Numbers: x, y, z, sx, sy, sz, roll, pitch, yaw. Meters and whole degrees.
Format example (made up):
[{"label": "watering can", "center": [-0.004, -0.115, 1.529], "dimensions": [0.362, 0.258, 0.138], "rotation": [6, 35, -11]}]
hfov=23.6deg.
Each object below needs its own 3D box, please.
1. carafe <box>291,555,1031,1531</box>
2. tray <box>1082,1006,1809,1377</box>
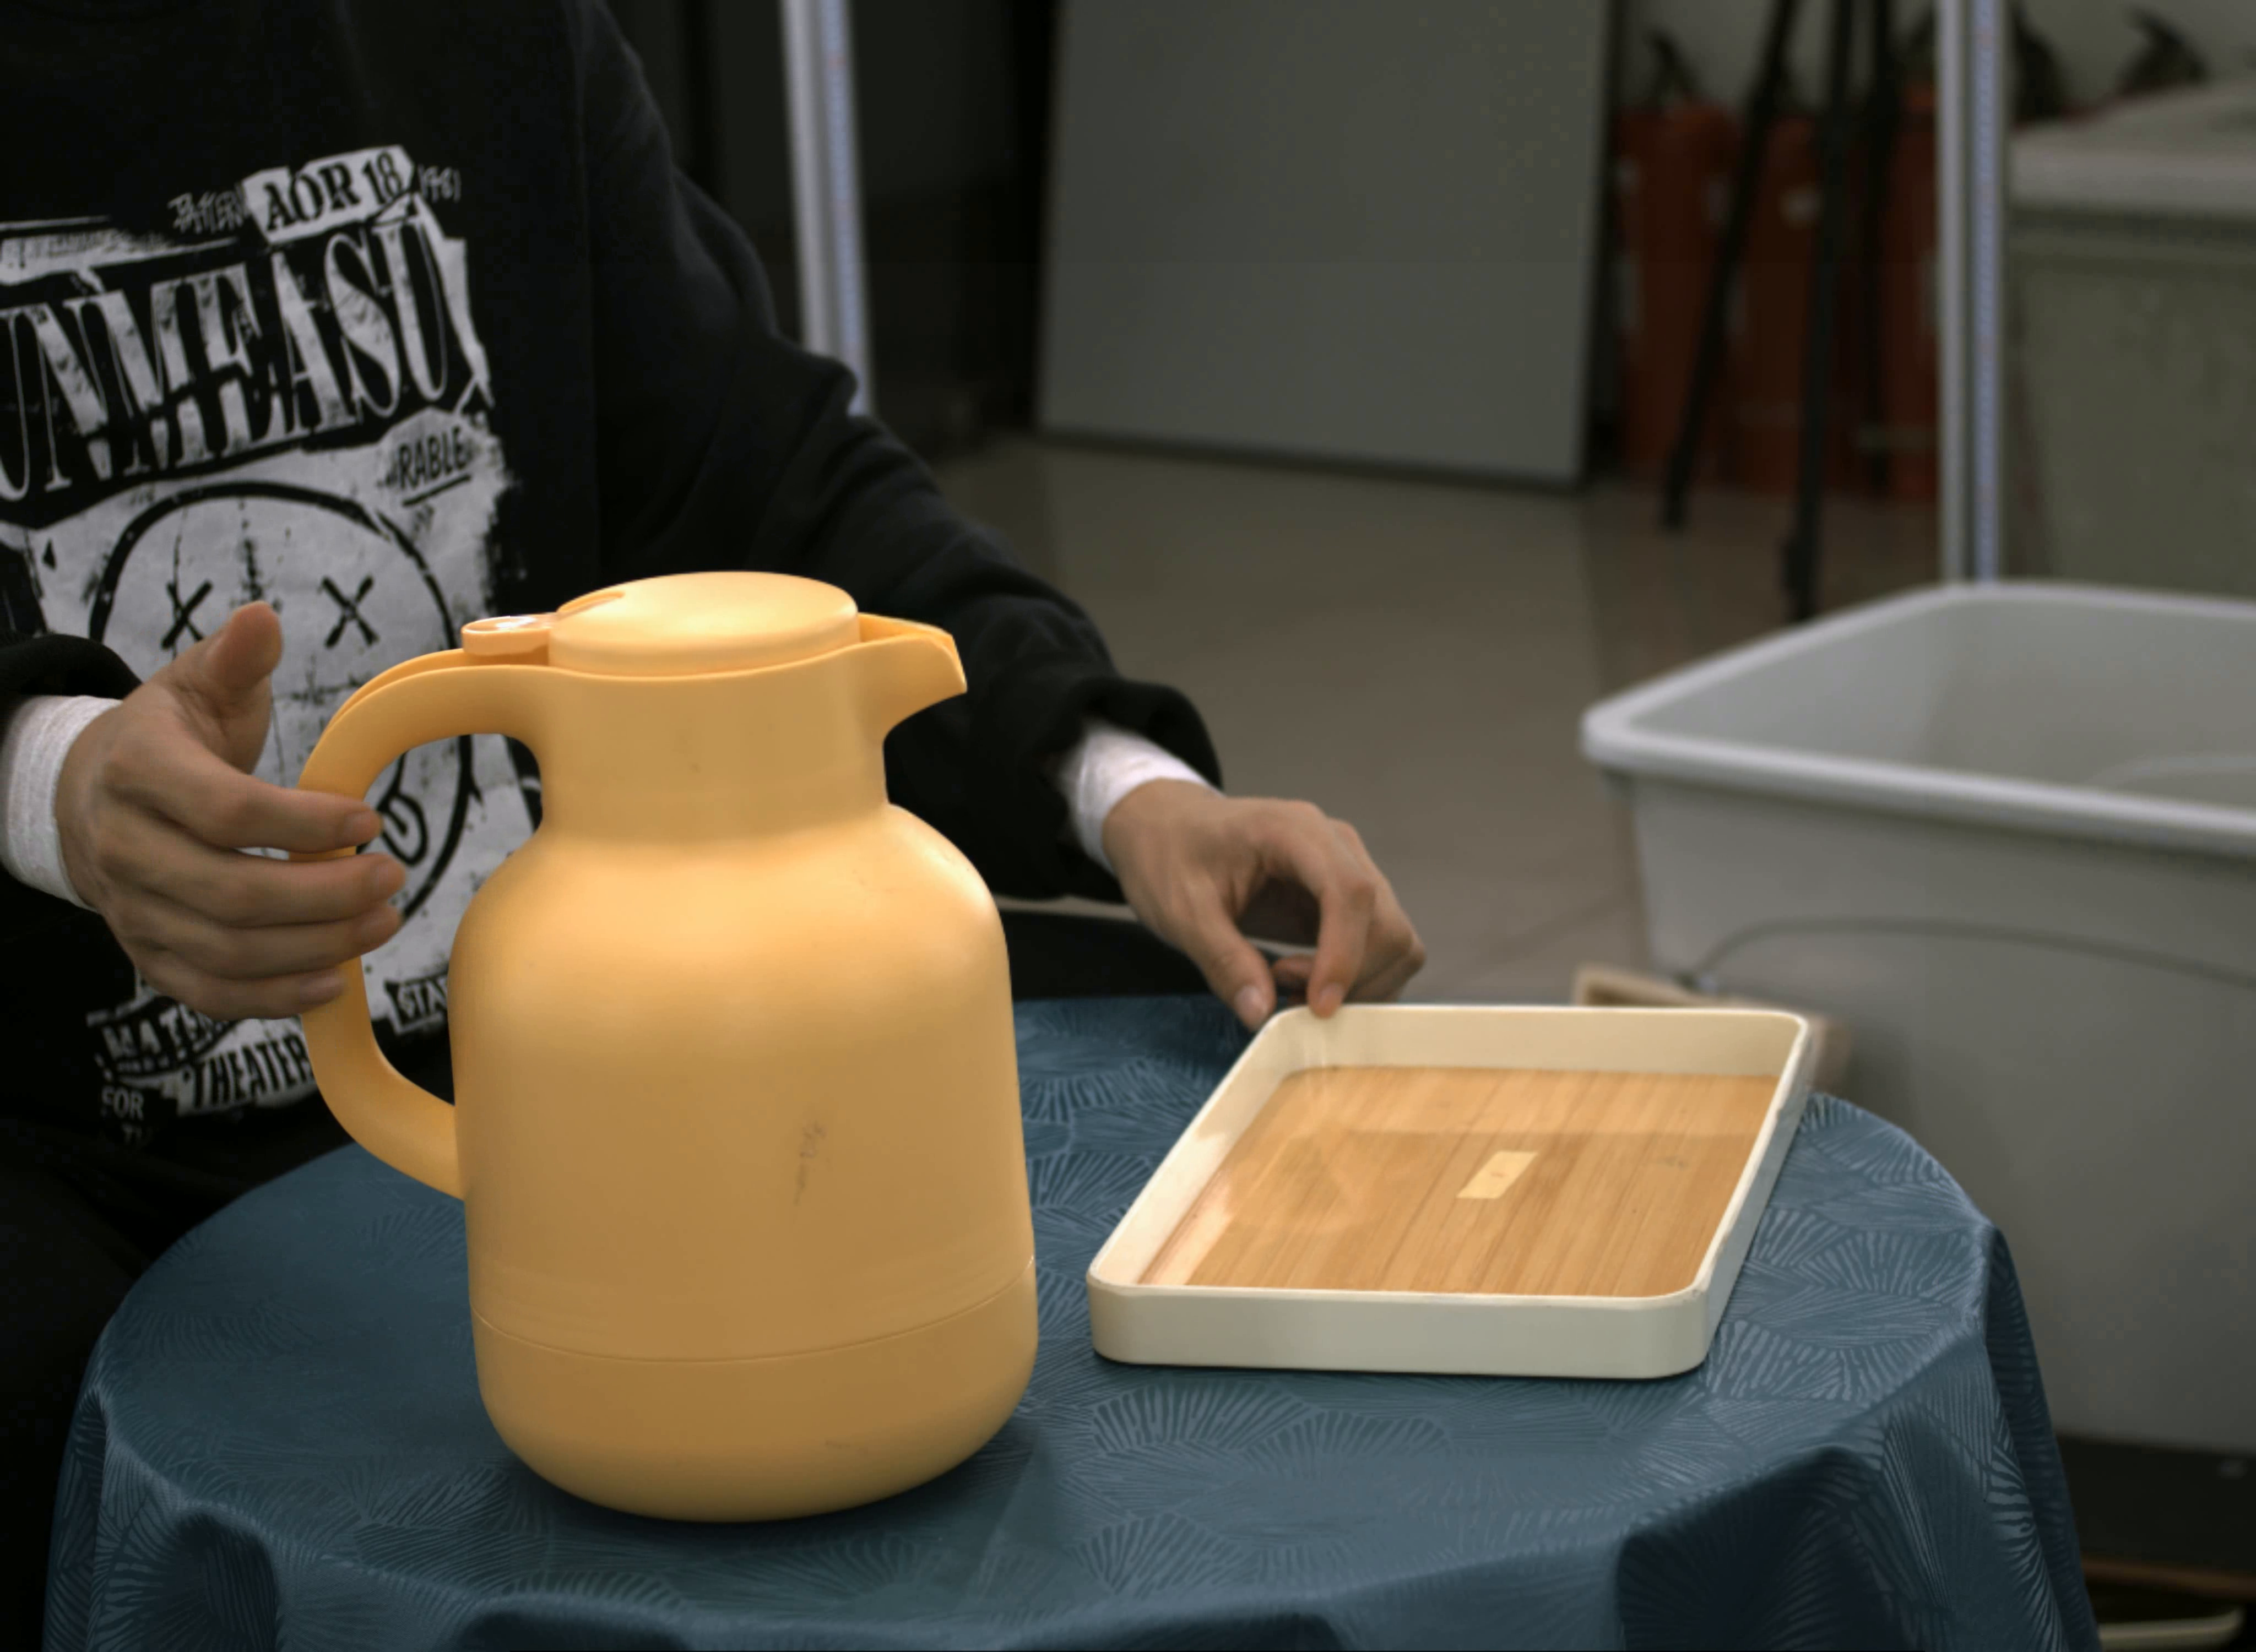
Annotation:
[{"label": "carafe", "center": [-0.131, 0.058, 1.530], "dimensions": [0.200, 0.263, 0.163], "rotation": [-3, 11, 3]}, {"label": "tray", "center": [0.109, 0.112, 1.721], "dimensions": [0.191, 0.028, 0.298], "rotation": [0, 14, 15]}]
